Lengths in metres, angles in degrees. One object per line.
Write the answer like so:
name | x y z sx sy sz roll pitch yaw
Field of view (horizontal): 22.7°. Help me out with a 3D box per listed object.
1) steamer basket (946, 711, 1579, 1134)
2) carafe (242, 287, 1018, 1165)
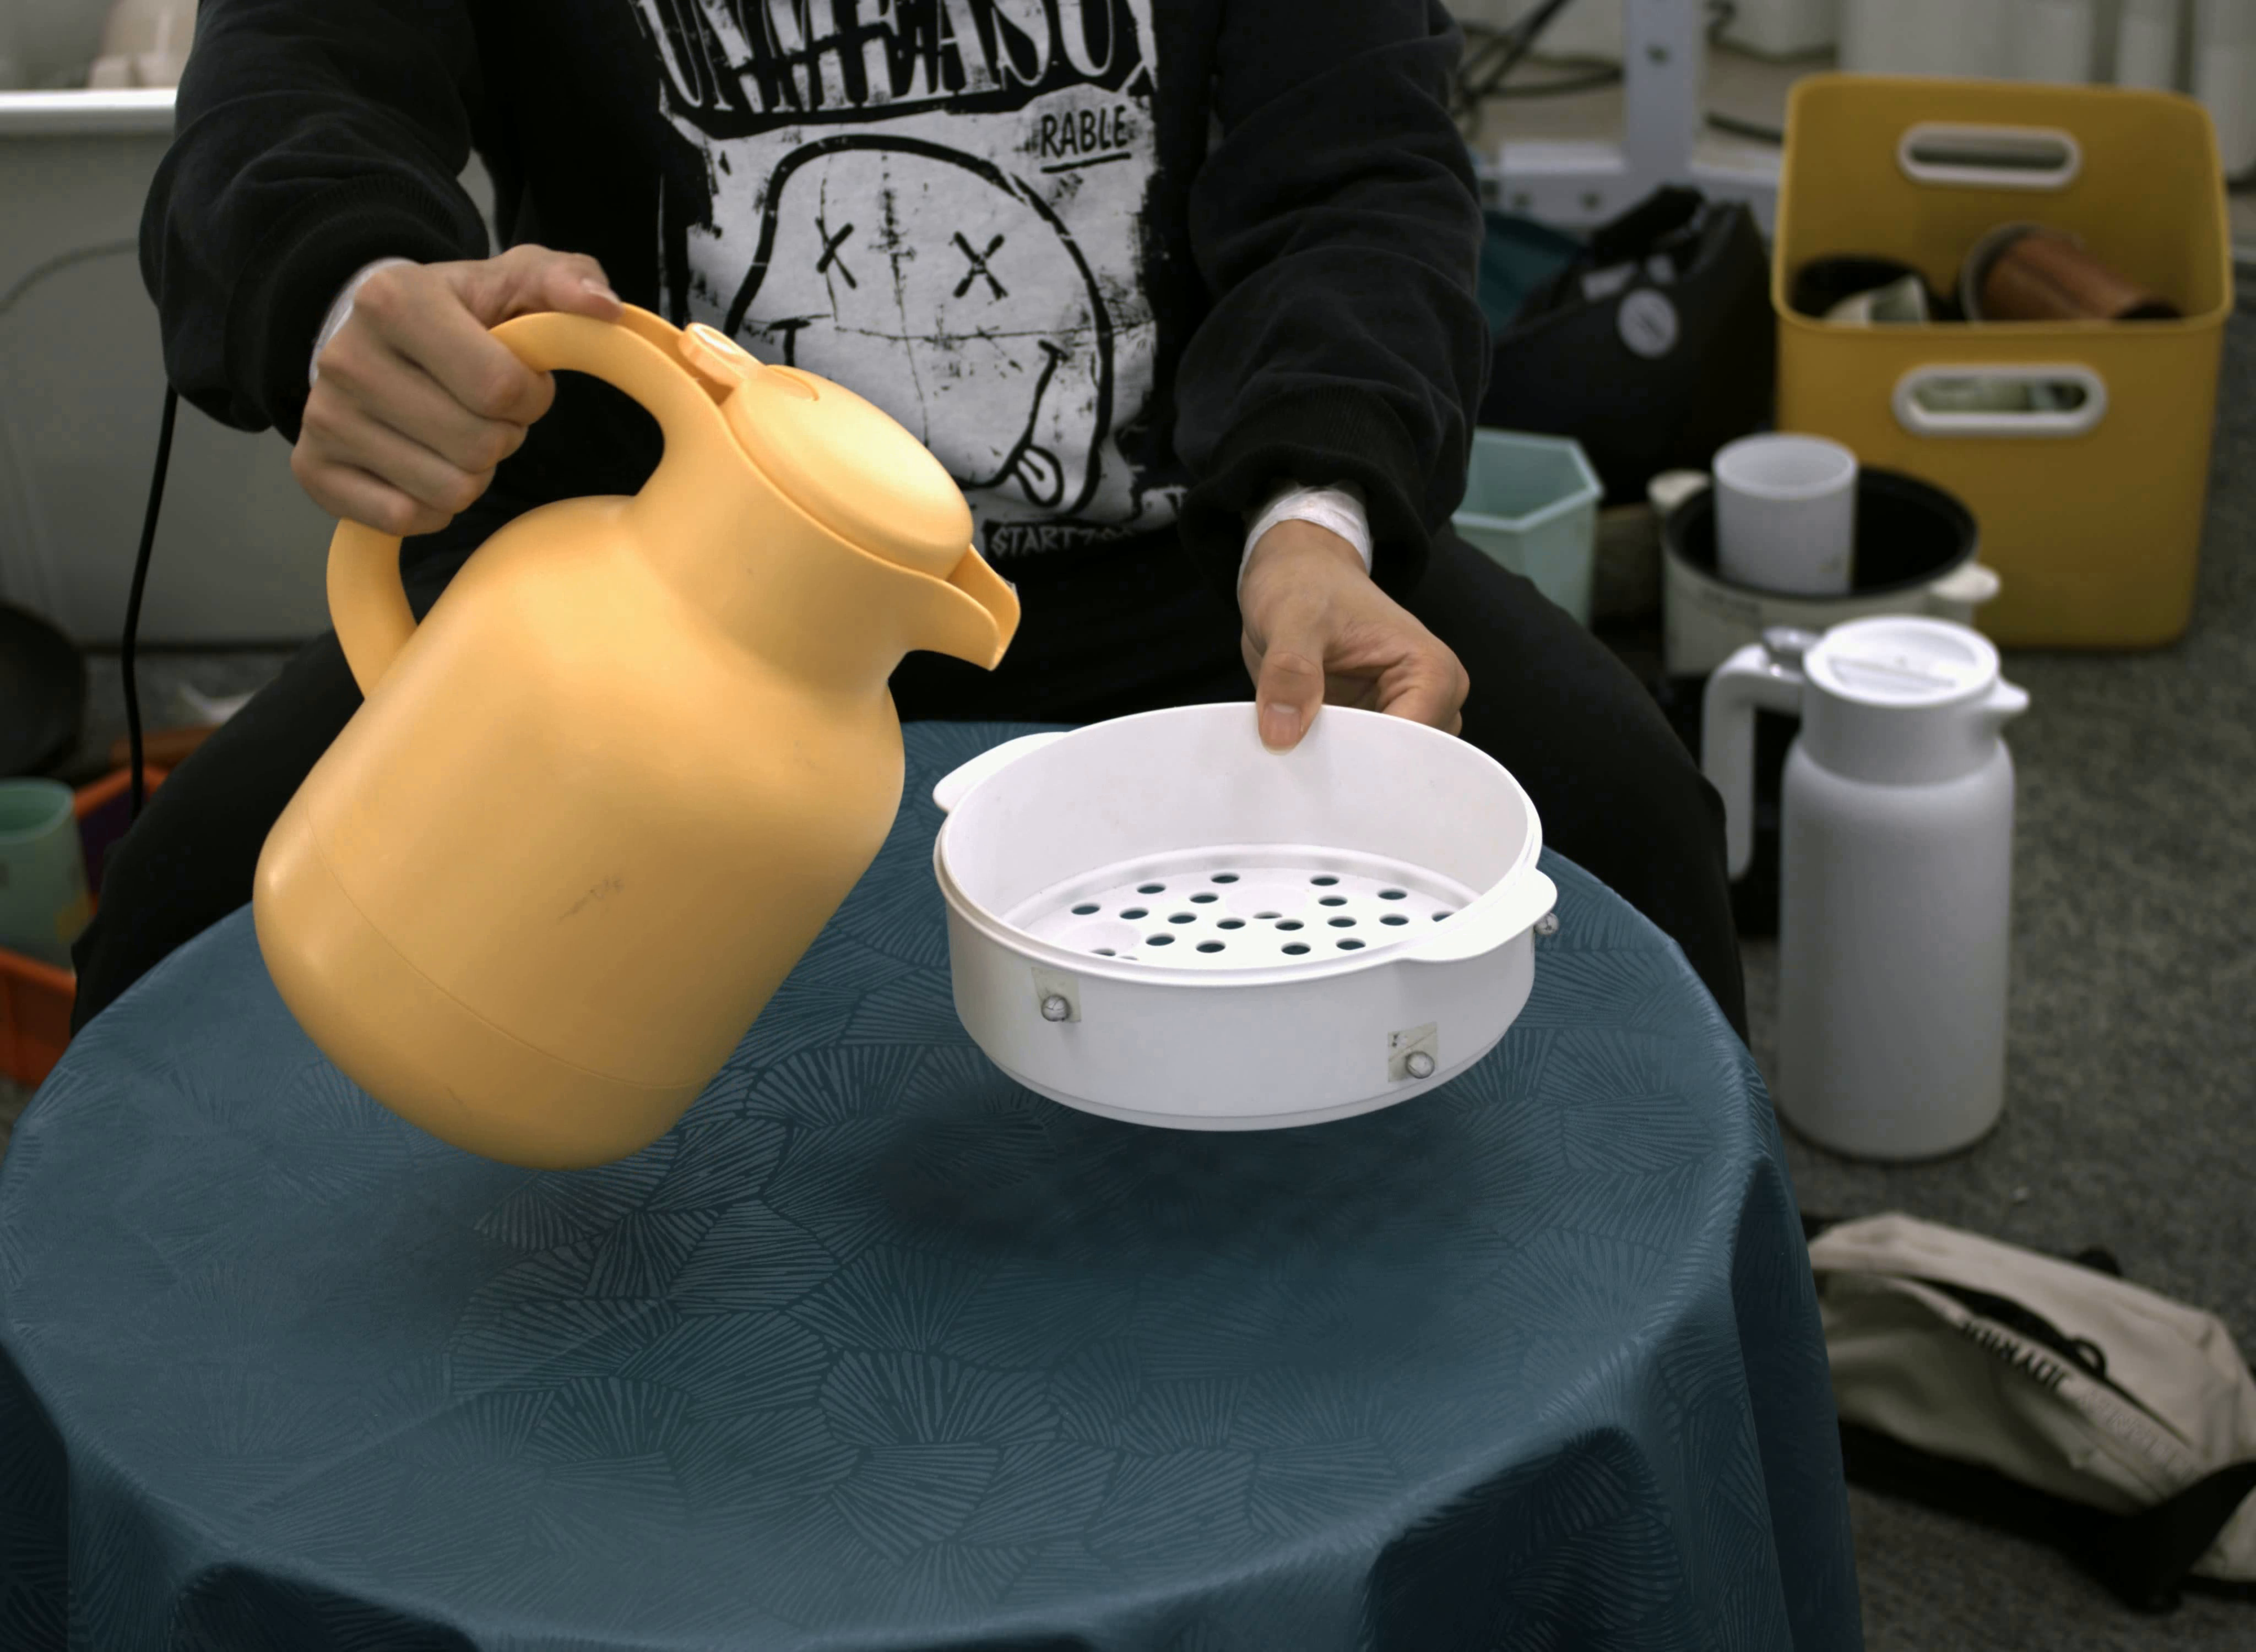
steamer basket | 0.042 0.032 1.852 0.230 0.068 0.204 18 31 34
carafe | -0.170 -0.040 1.787 0.202 0.258 0.165 41 18 4
